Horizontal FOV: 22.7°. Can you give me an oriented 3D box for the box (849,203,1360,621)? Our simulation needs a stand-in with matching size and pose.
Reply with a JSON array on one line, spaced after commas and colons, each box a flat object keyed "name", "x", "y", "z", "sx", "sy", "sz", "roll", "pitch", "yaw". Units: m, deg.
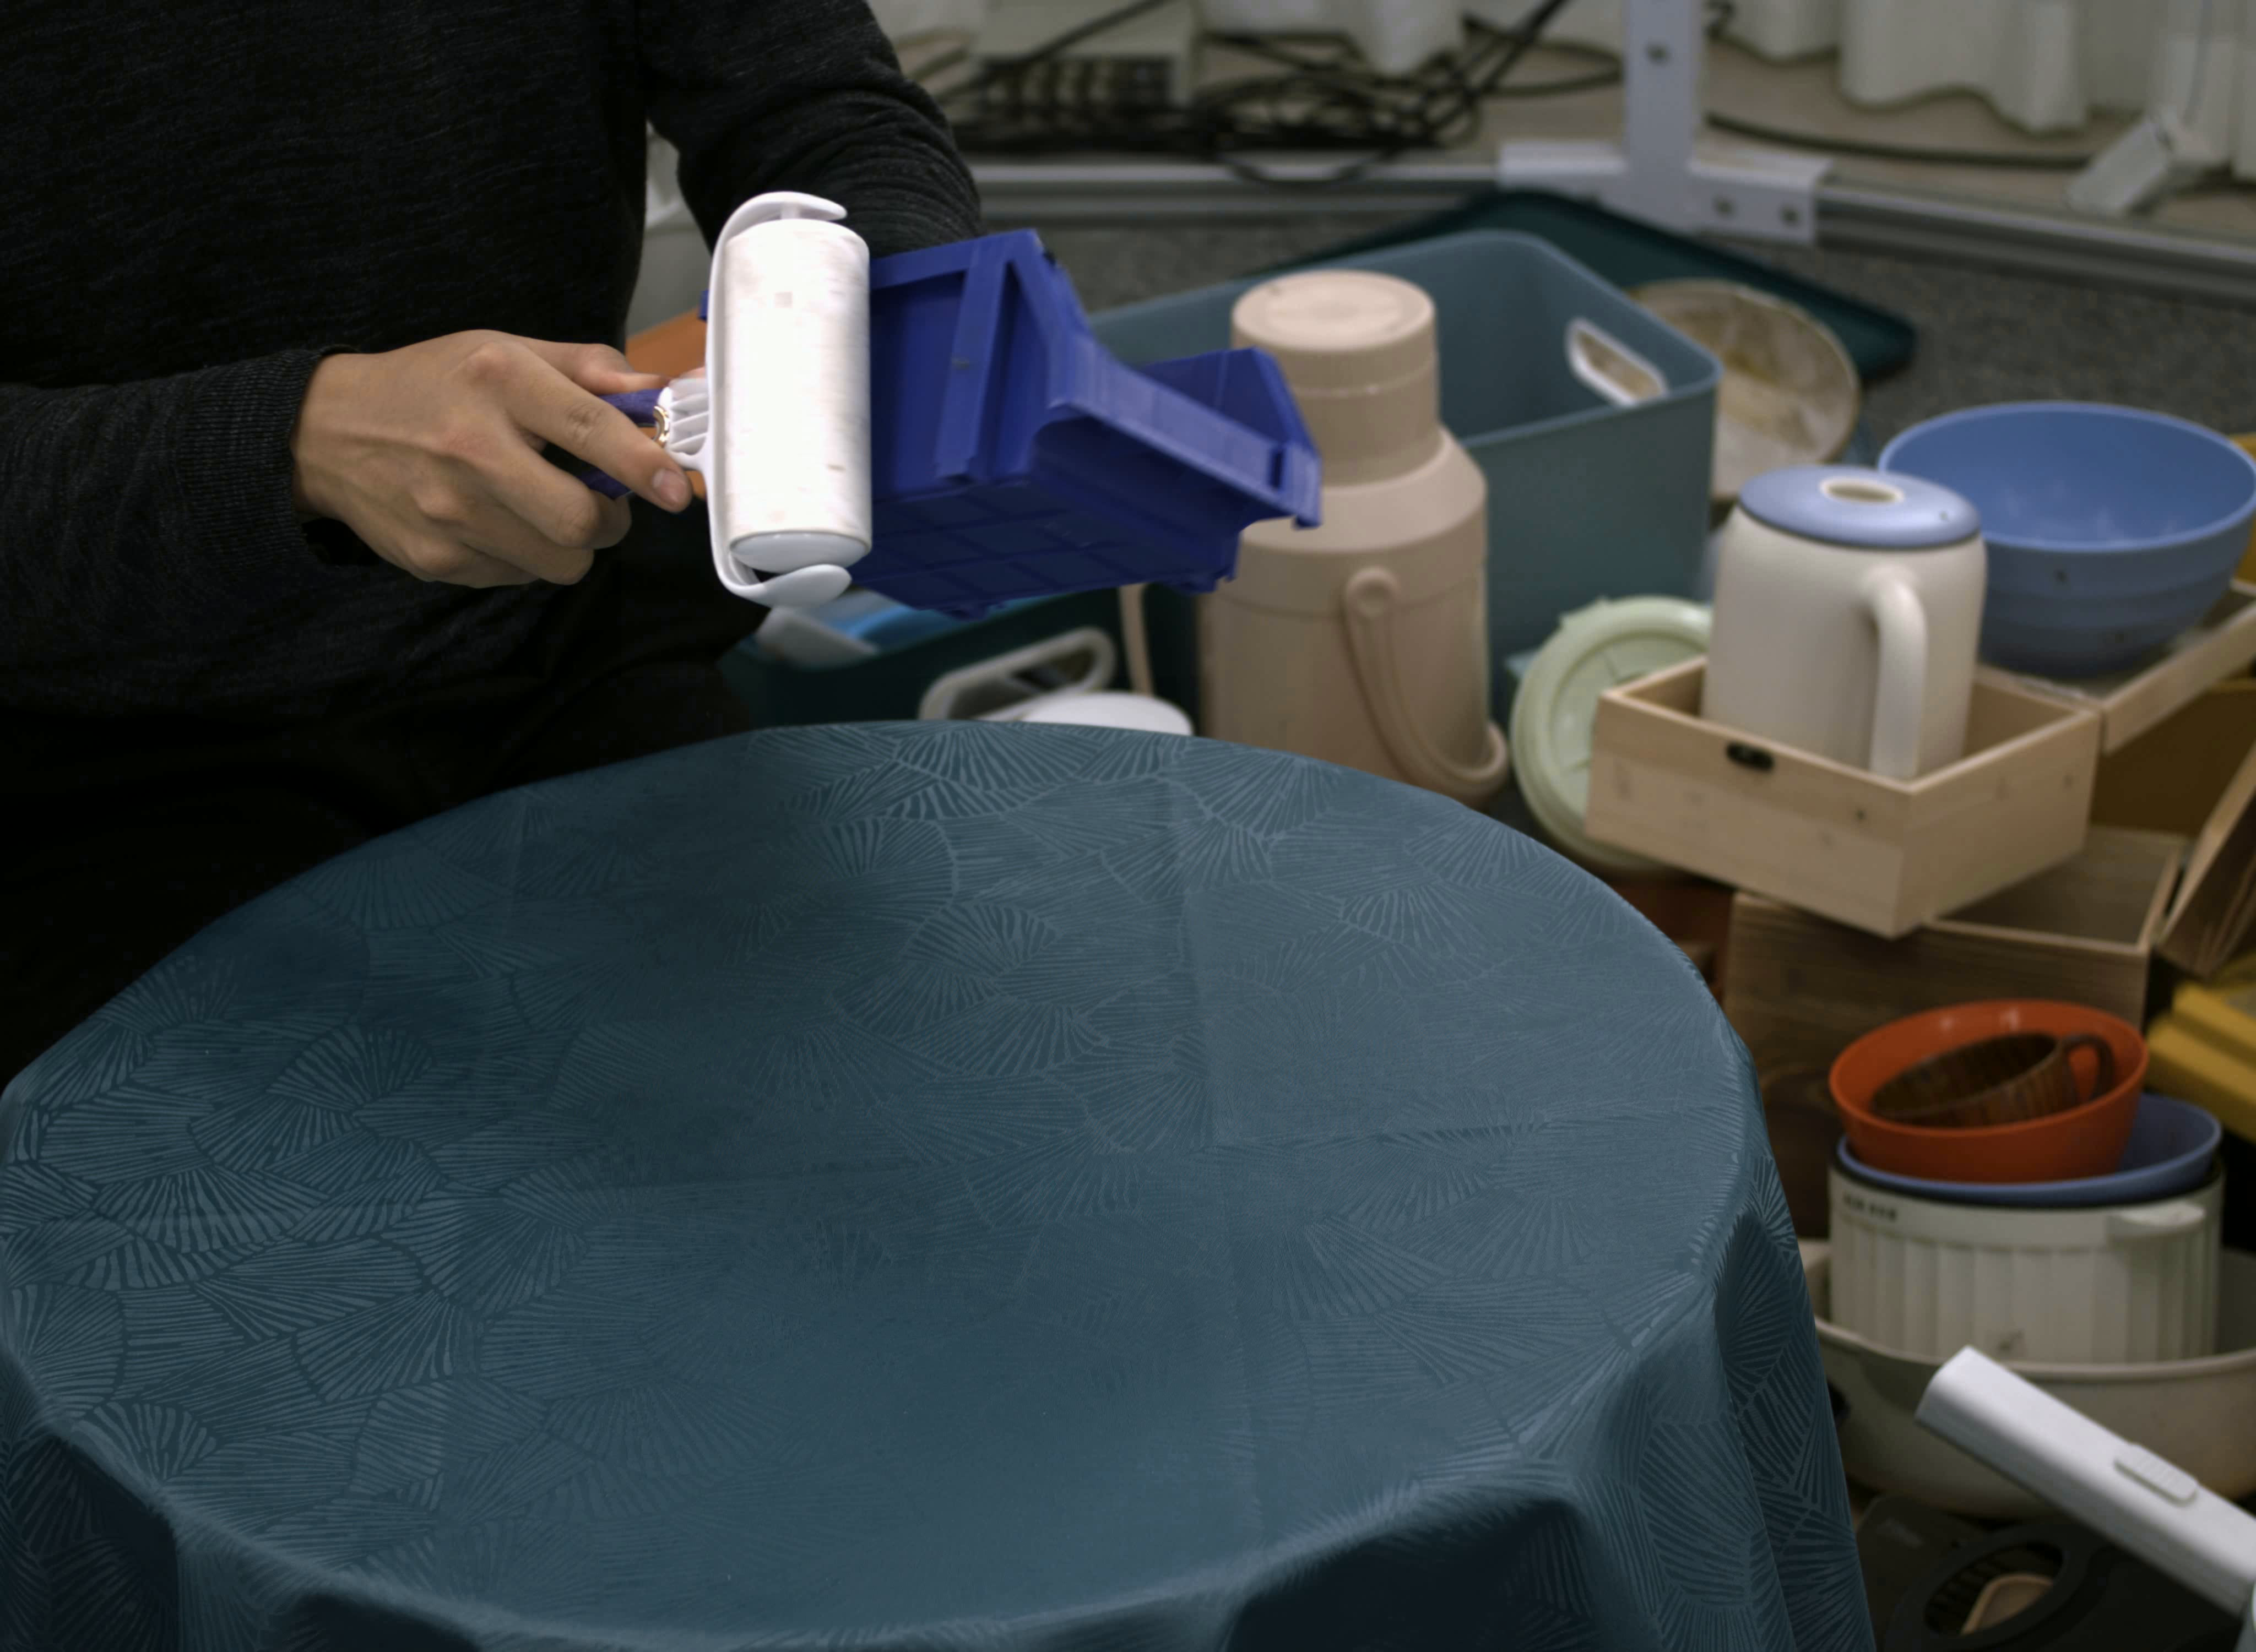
[{"name": "box", "x": -0.027, "y": -0.132, "z": 1.819, "sx": 0.177, "sy": 0.083, "sz": 0.124, "roll": -11, "pitch": -25, "yaw": 42}]

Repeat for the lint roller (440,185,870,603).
[{"name": "lint roller", "x": -0.161, "y": -0.130, "z": 1.818, "sx": 0.179, "sy": 0.134, "sz": 0.050, "roll": -7, "pitch": -13, "yaw": 30}]
